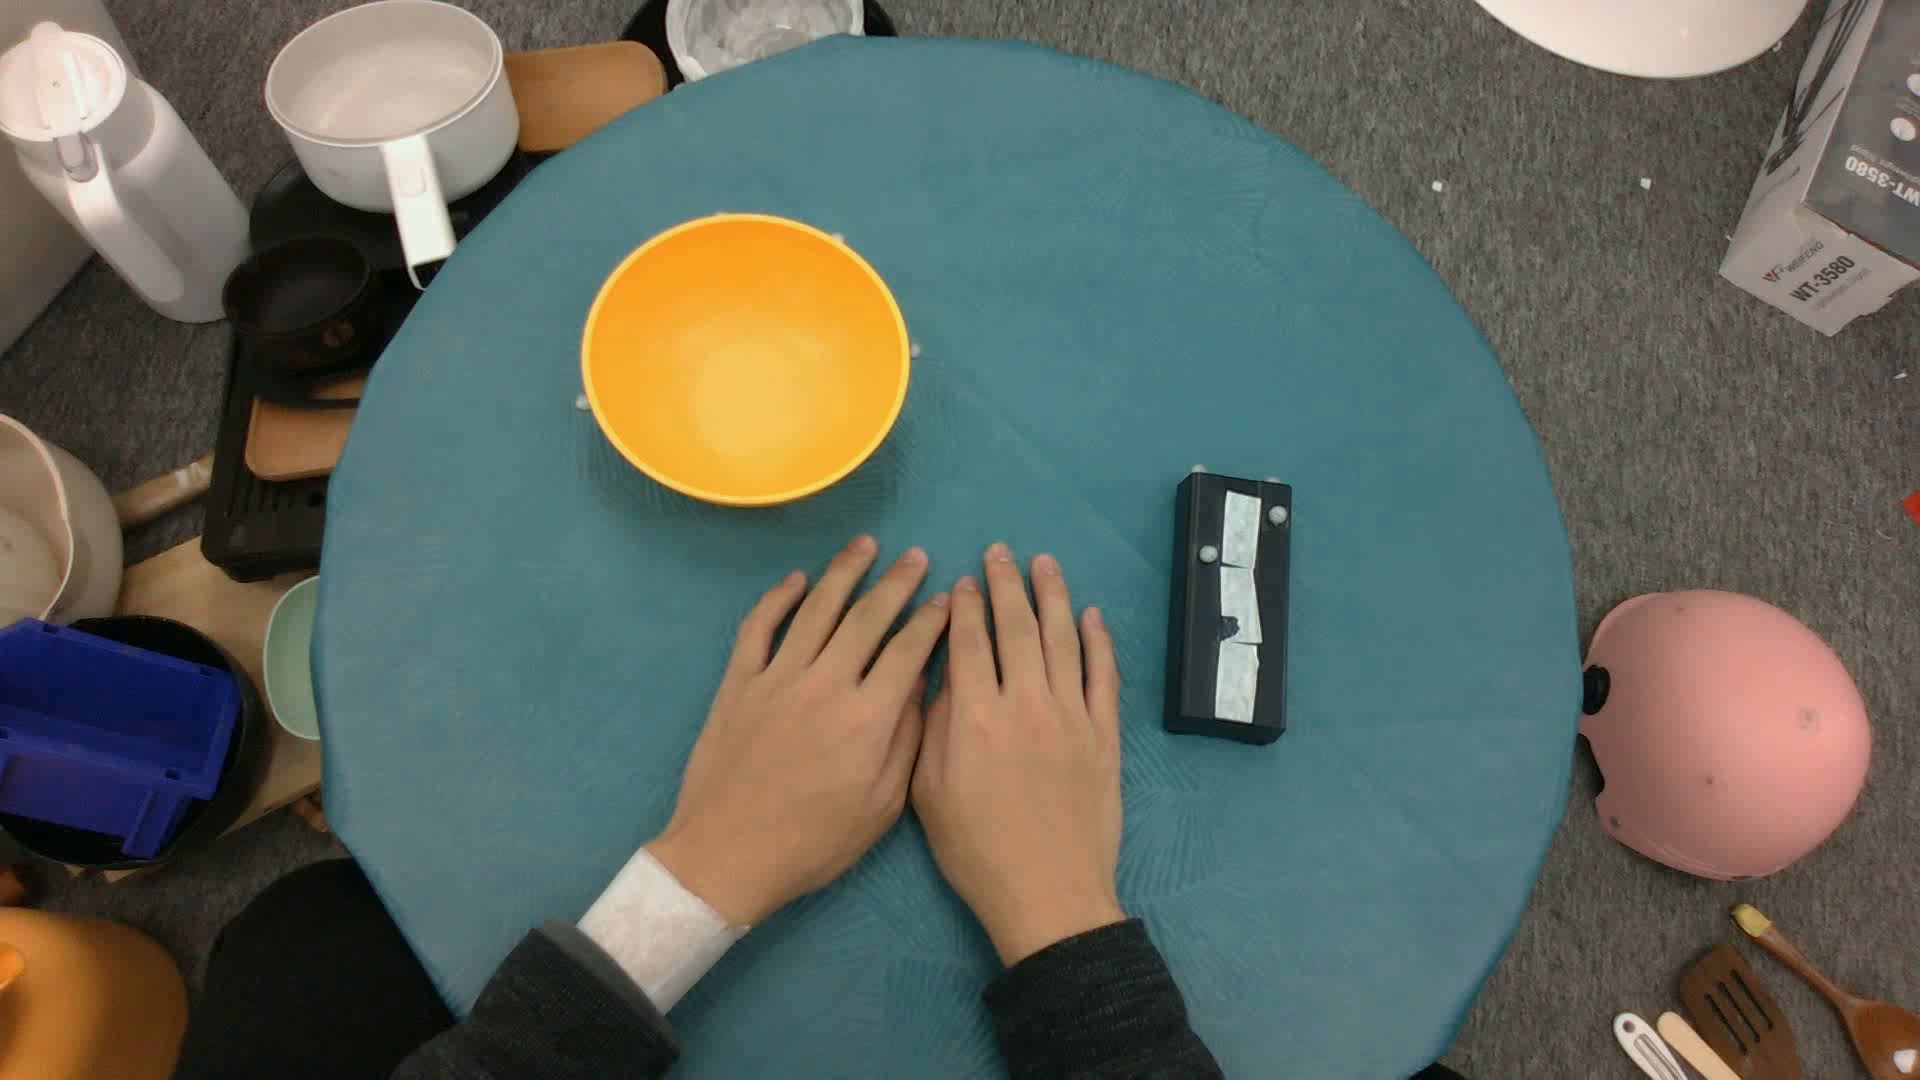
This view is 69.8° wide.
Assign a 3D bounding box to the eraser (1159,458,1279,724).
[{"bbox_3d":[0.122,0.023,0.651,0.053,0.030,0.126,5,70,-2],"label":"eraser"}]

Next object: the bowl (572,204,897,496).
[{"bbox_3d":[-0.103,-0.080,0.645,0.145,0.060,0.145,1,72,-5],"label":"bowl"}]
